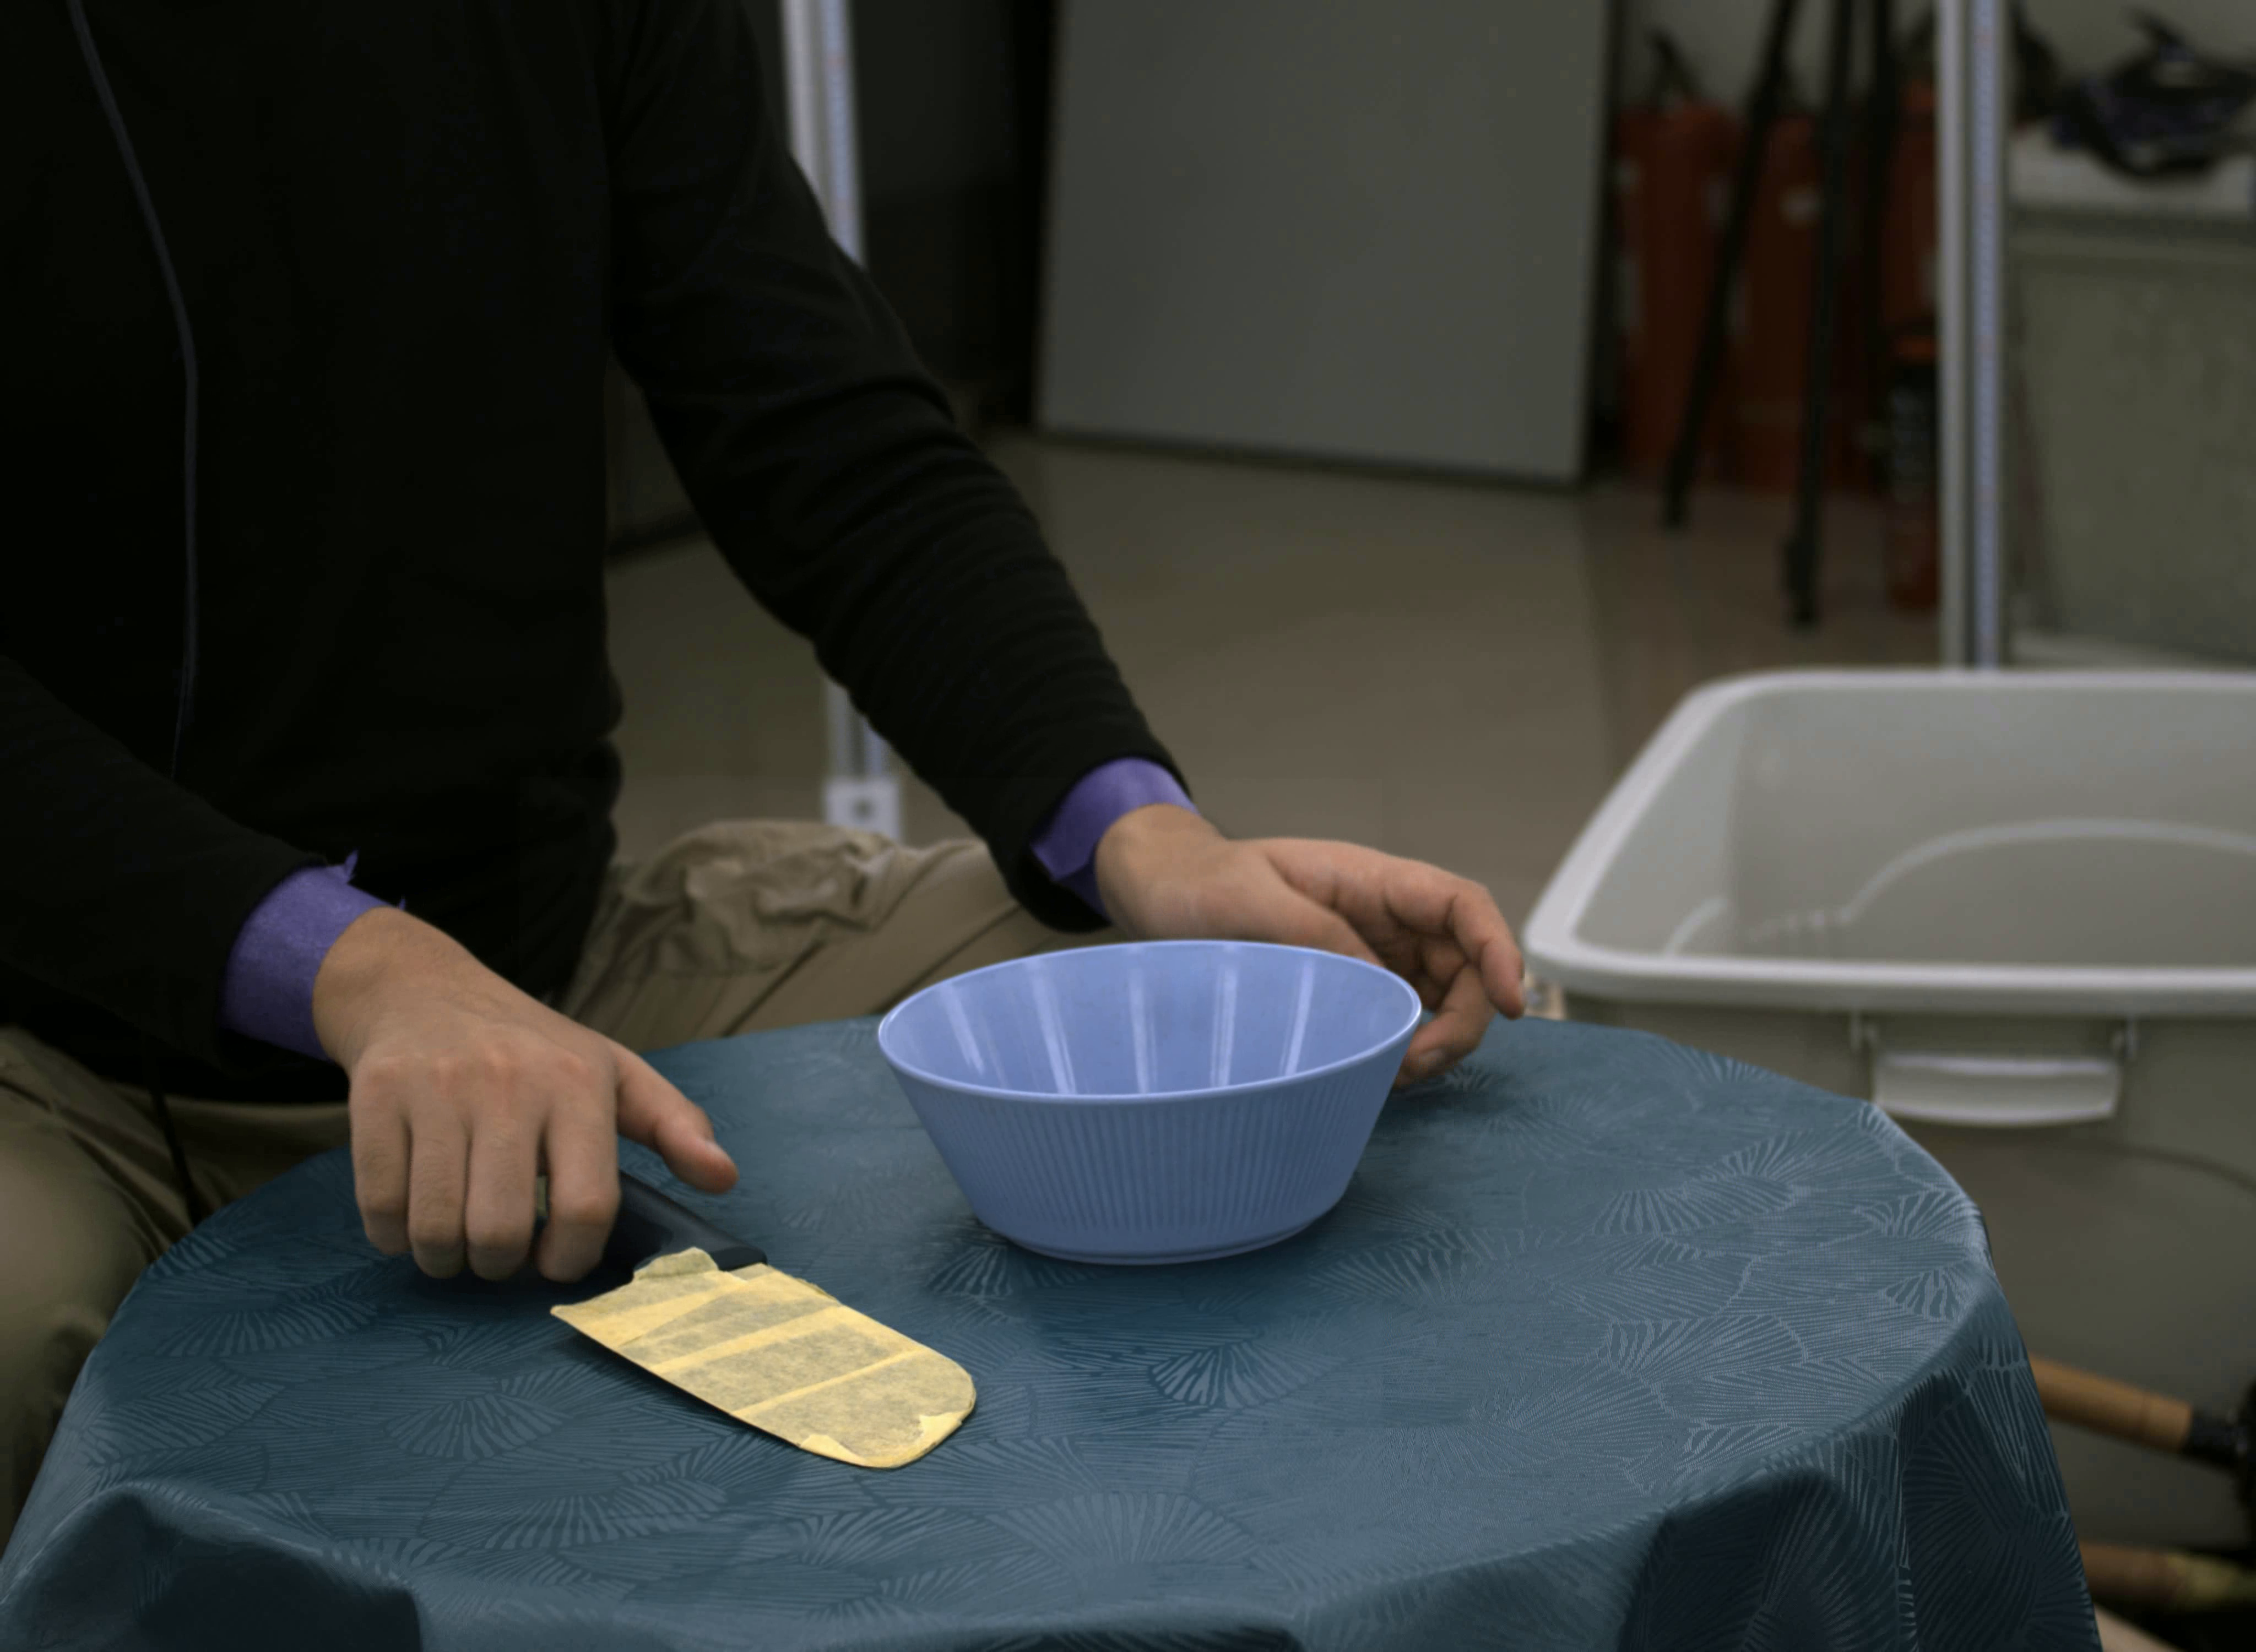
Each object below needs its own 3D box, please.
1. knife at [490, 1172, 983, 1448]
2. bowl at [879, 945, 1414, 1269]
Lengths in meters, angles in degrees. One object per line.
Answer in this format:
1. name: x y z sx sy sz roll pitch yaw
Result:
1. knife: -0.133 0.151 1.668 0.079 0.027 0.292 -12 16 -31
2. bowl: 0.008 0.093 1.742 0.174 0.071 0.176 -5 14 0
